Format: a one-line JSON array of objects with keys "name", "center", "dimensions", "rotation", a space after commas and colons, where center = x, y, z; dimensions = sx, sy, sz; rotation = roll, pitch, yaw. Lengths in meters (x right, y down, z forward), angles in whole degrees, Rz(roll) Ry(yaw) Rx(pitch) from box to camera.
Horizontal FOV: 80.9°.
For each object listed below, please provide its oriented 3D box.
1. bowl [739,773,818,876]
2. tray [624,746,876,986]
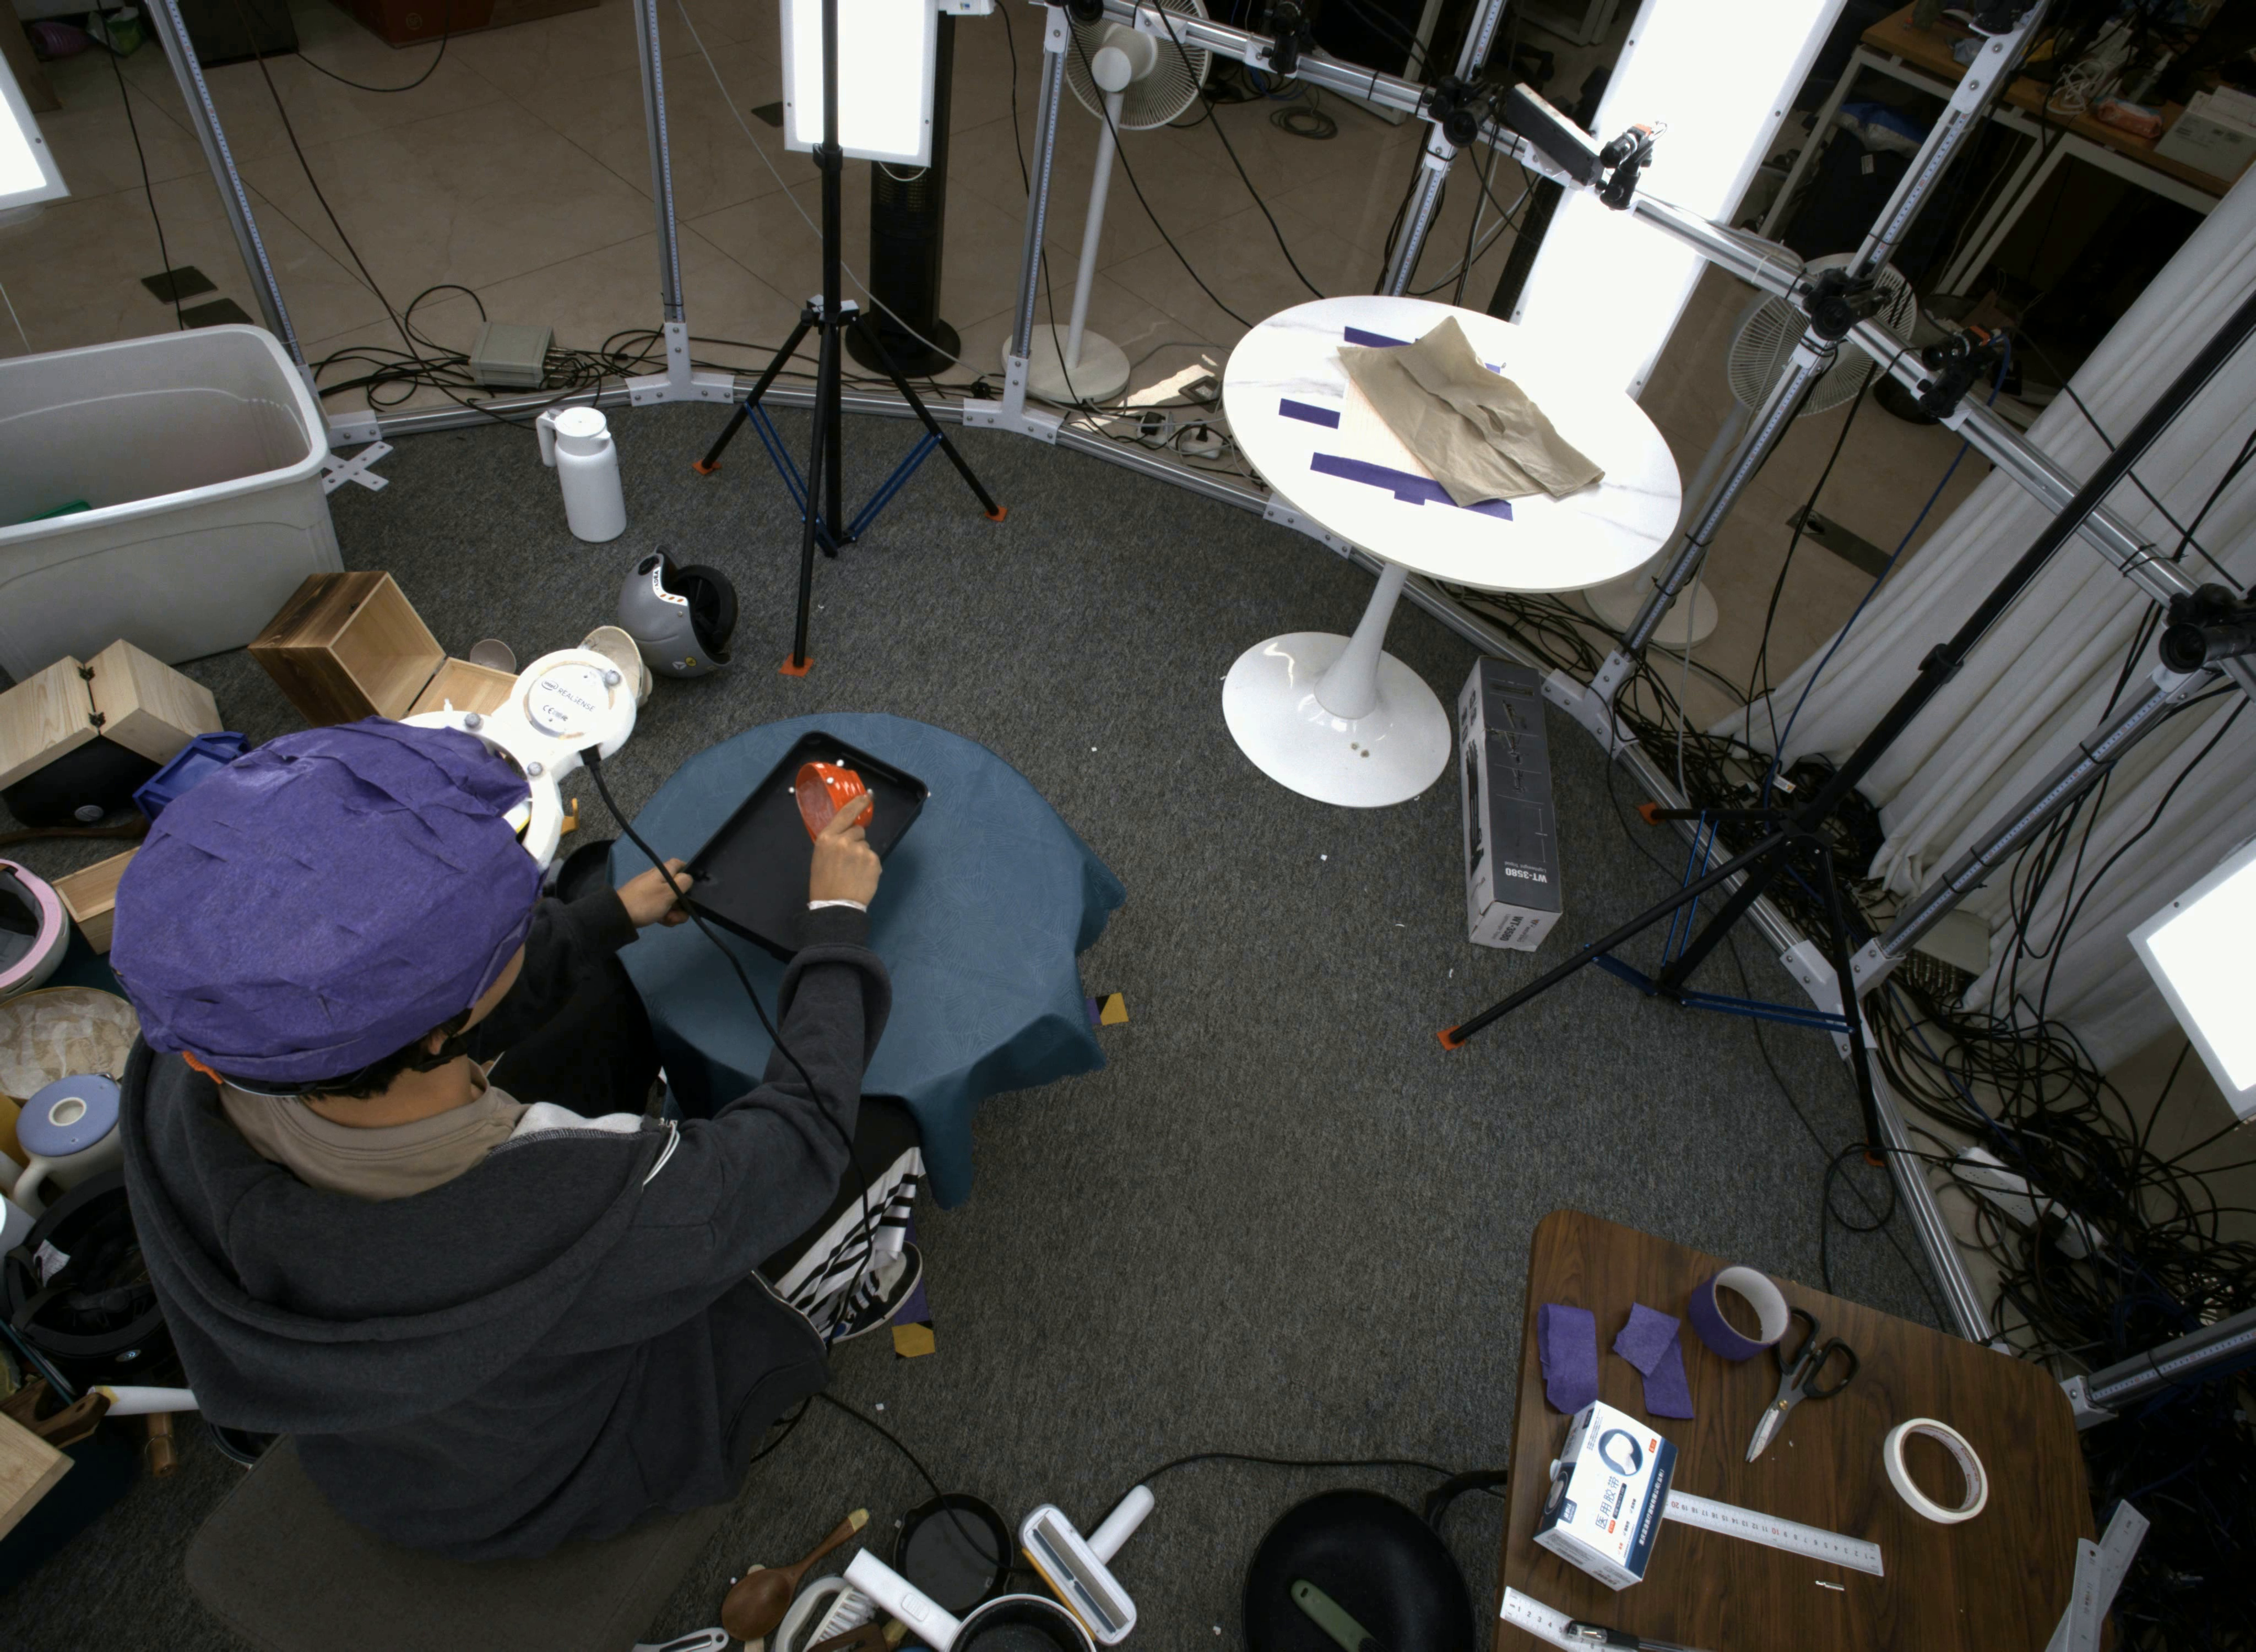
[{"name": "bowl", "center": [-0.390, -0.008, 1.458], "dimensions": [0.052, 0.121, 0.116], "rotation": [-22, 60, -36]}, {"name": "tray", "center": [-0.449, 0.038, 1.560], "dimensions": [0.183, 0.037, 0.315], "rotation": [24, 46, 0]}]
